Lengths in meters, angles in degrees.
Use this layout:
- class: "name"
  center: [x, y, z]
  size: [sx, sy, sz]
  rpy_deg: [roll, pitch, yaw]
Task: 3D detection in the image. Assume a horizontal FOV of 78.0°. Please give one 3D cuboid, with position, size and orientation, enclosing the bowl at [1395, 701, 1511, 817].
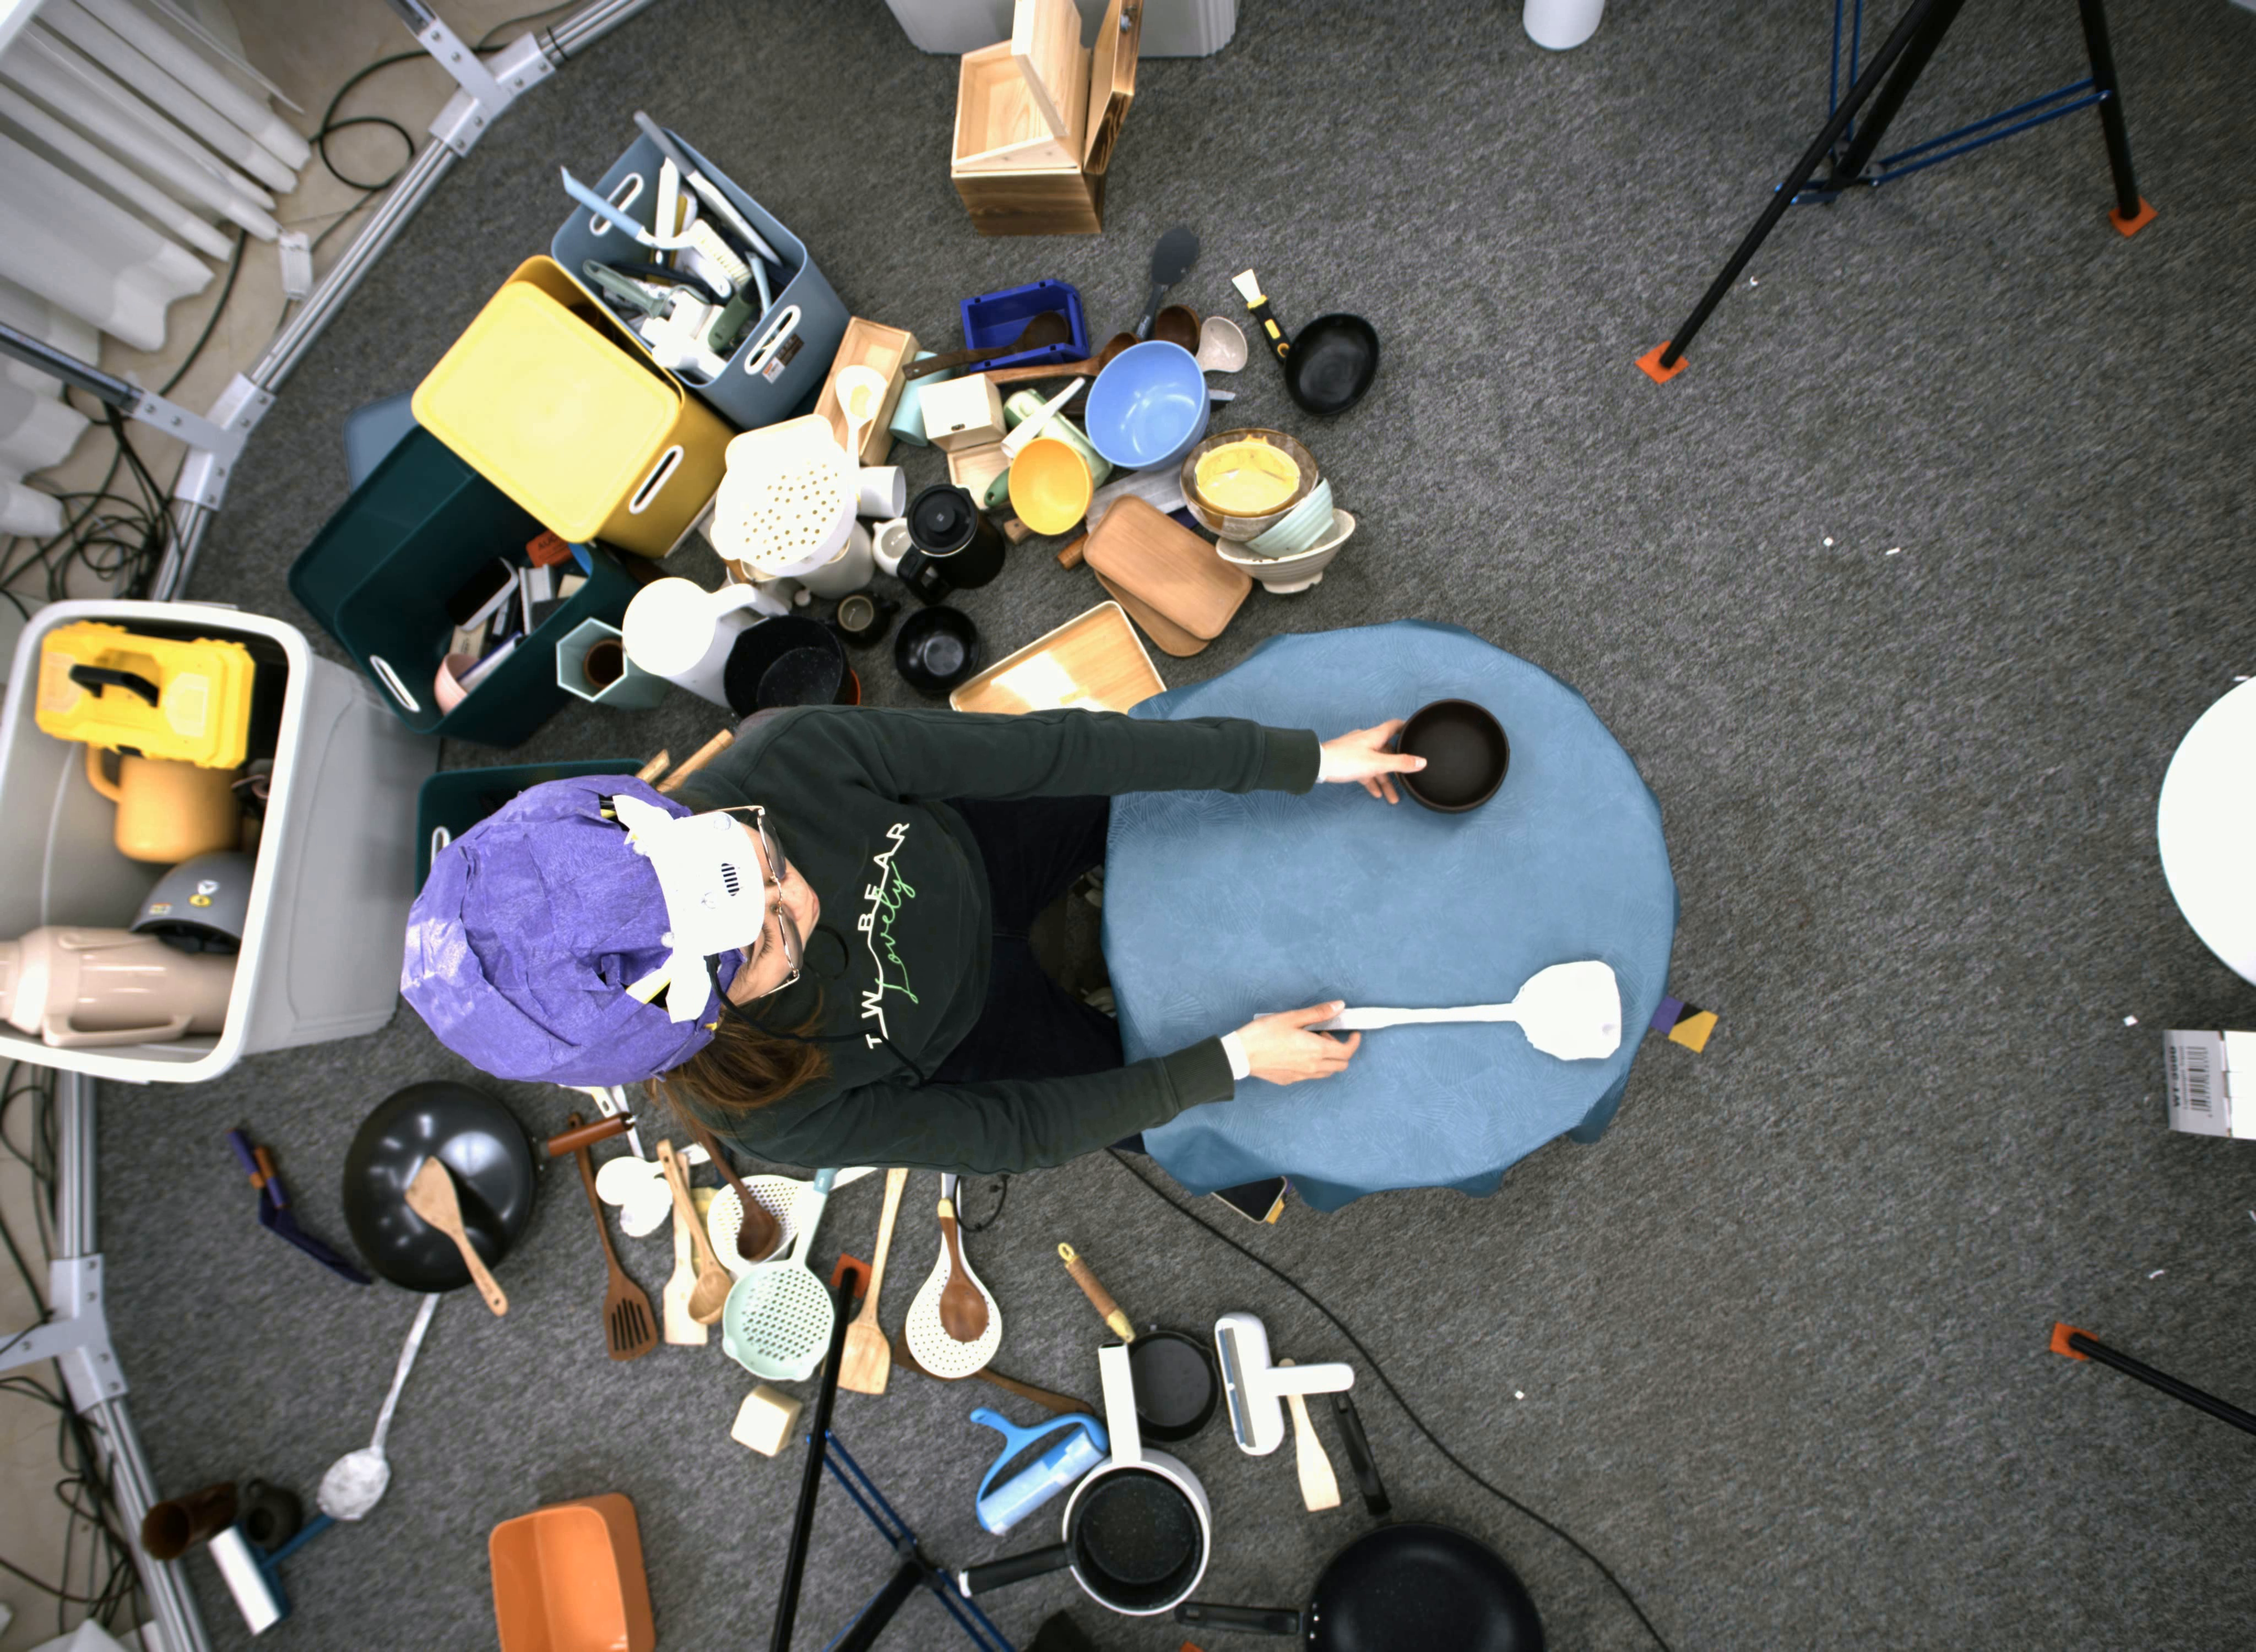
- class: "bowl"
  center: [0.336, -0.068, 1.426]
  size: [0.118, 0.070, 0.117]
  rpy_deg: [-1, 84, 12]

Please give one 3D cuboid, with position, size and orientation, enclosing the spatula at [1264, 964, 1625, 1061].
- class: "spatula"
  center: [0.322, 0.192, 1.427]
  size: [0.366, 0.045, 0.098]
  rpy_deg: [-2, 87, 10]
